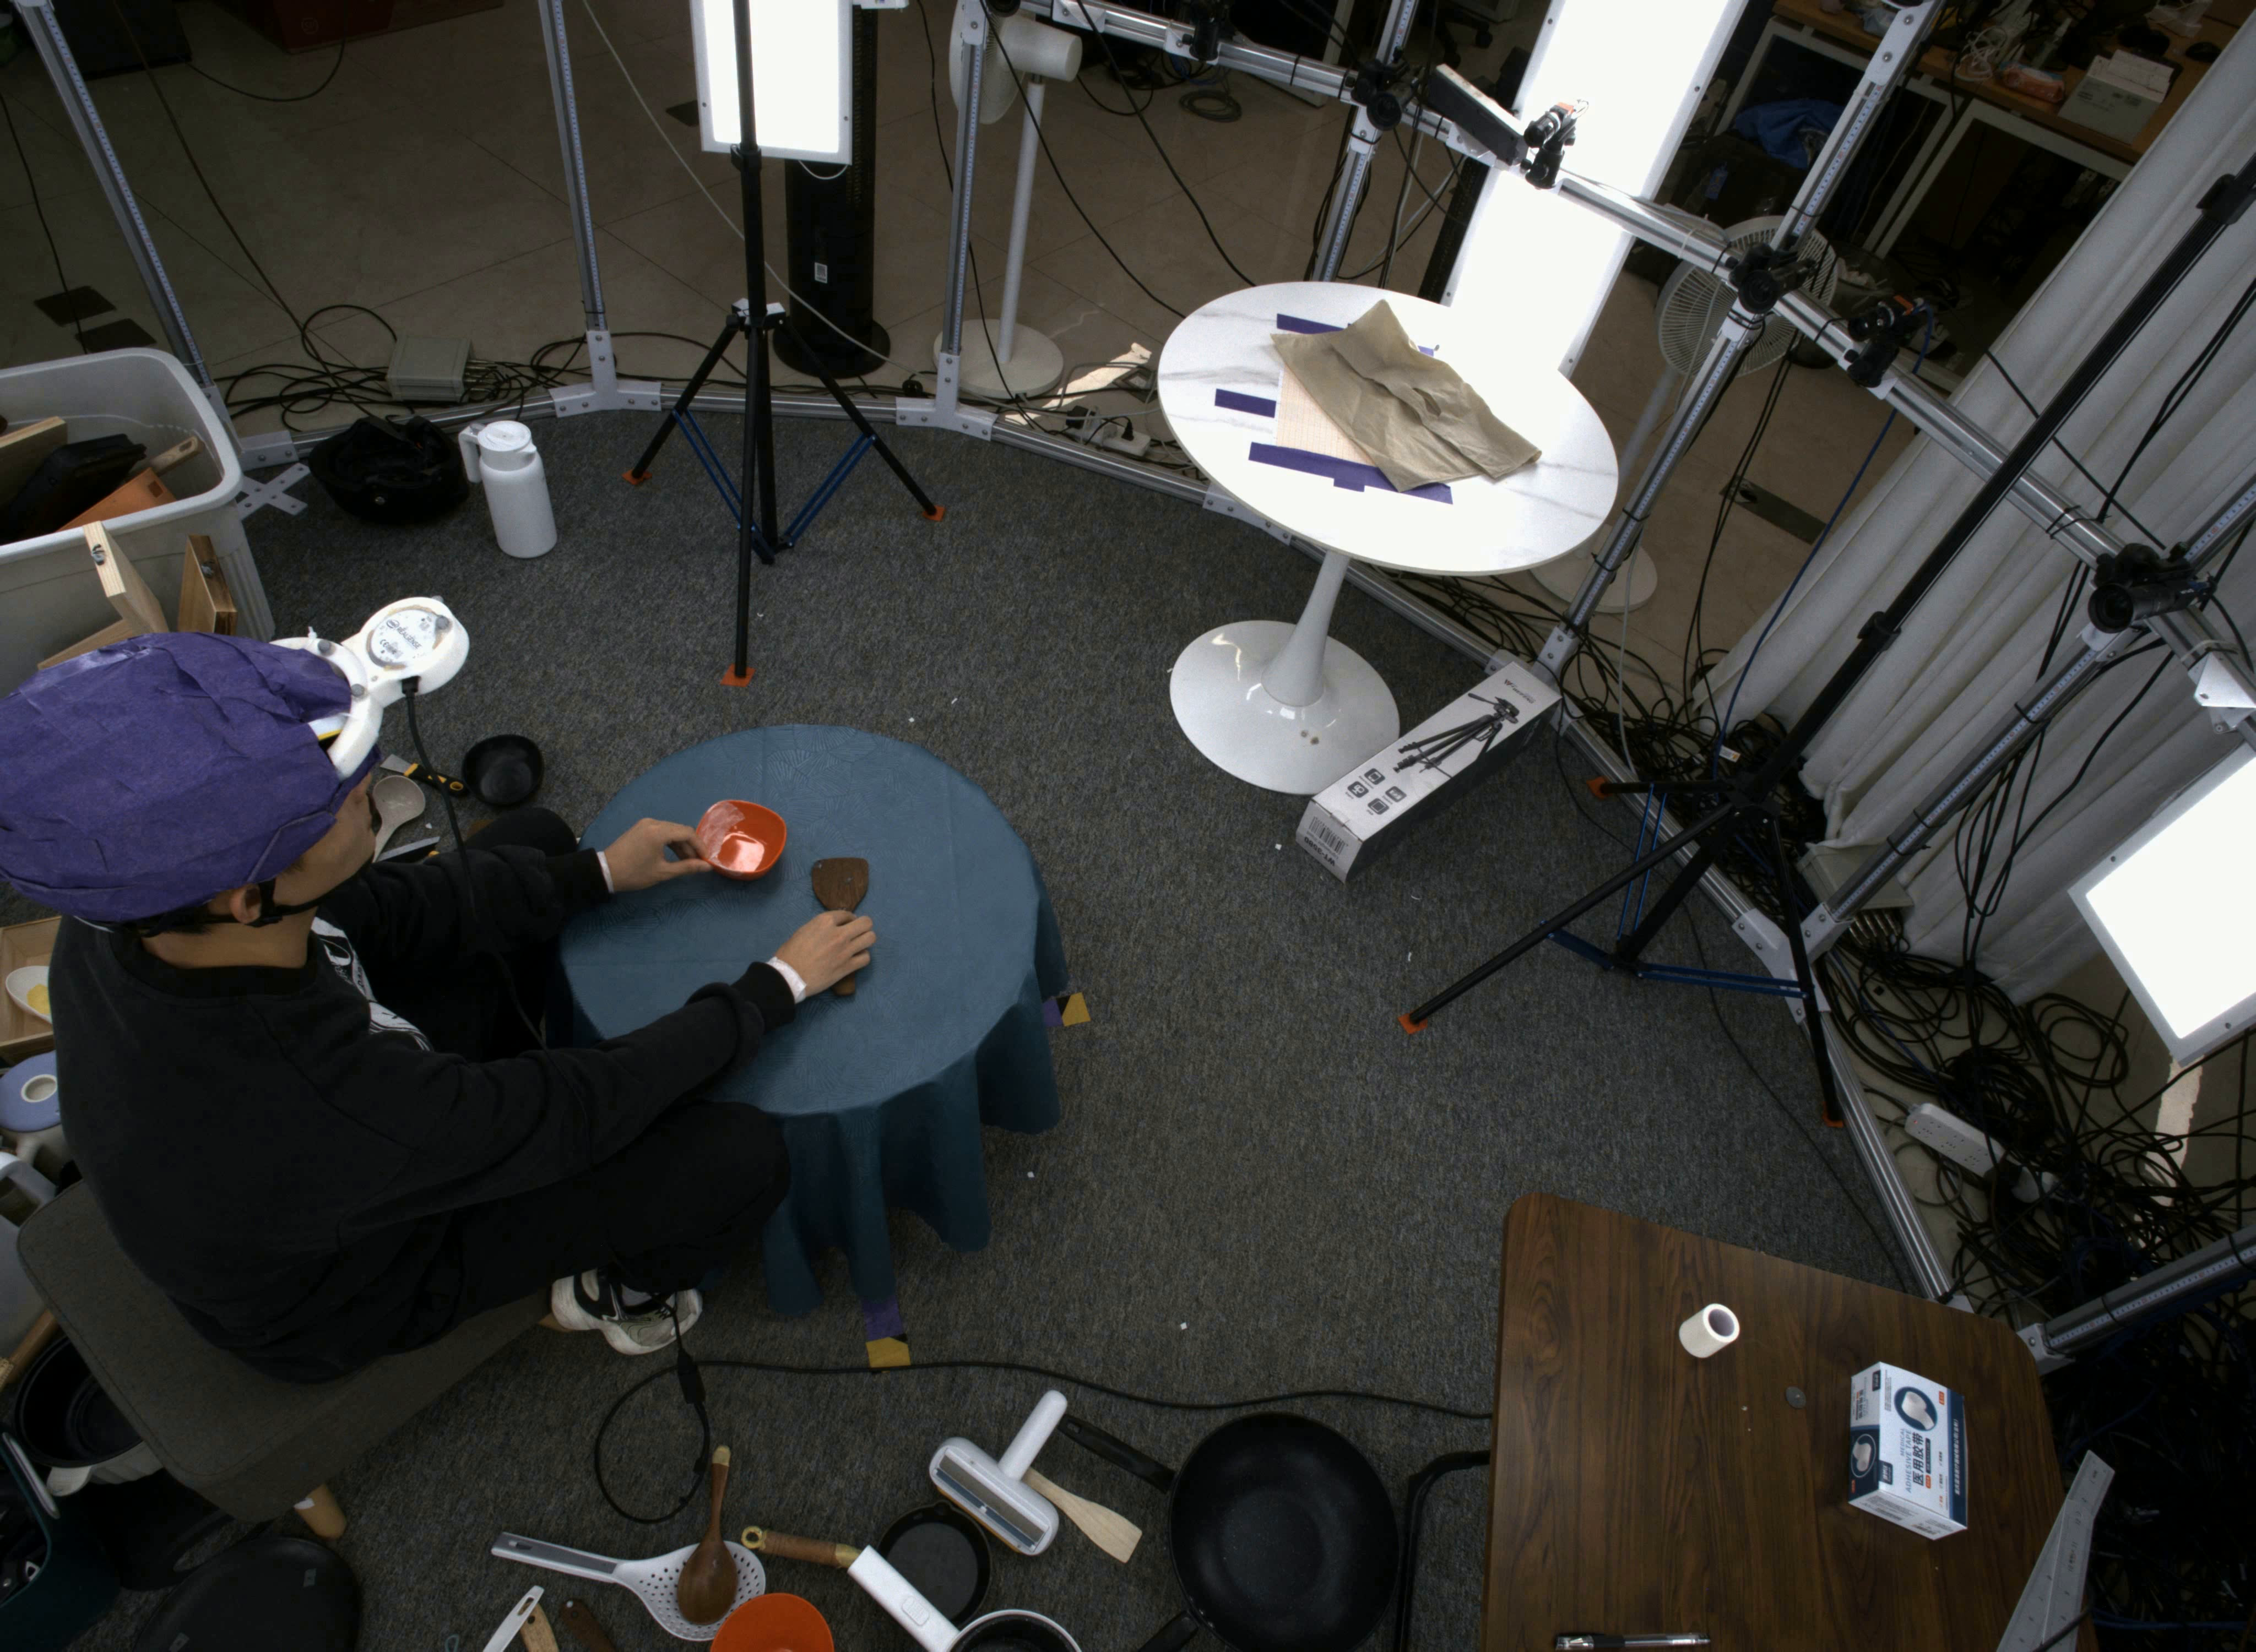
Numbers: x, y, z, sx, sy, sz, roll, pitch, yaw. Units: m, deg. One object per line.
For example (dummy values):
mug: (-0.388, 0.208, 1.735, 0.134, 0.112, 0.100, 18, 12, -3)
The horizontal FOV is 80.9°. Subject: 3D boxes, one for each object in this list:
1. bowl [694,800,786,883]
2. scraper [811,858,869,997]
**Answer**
bowl: (-0.498, 0.027, 1.658, 0.120, 0.052, 0.117, 12, 54, -15)
scraper: (-0.361, 0.124, 1.643, 0.076, 0.011, 0.206, -1, 52, -15)
